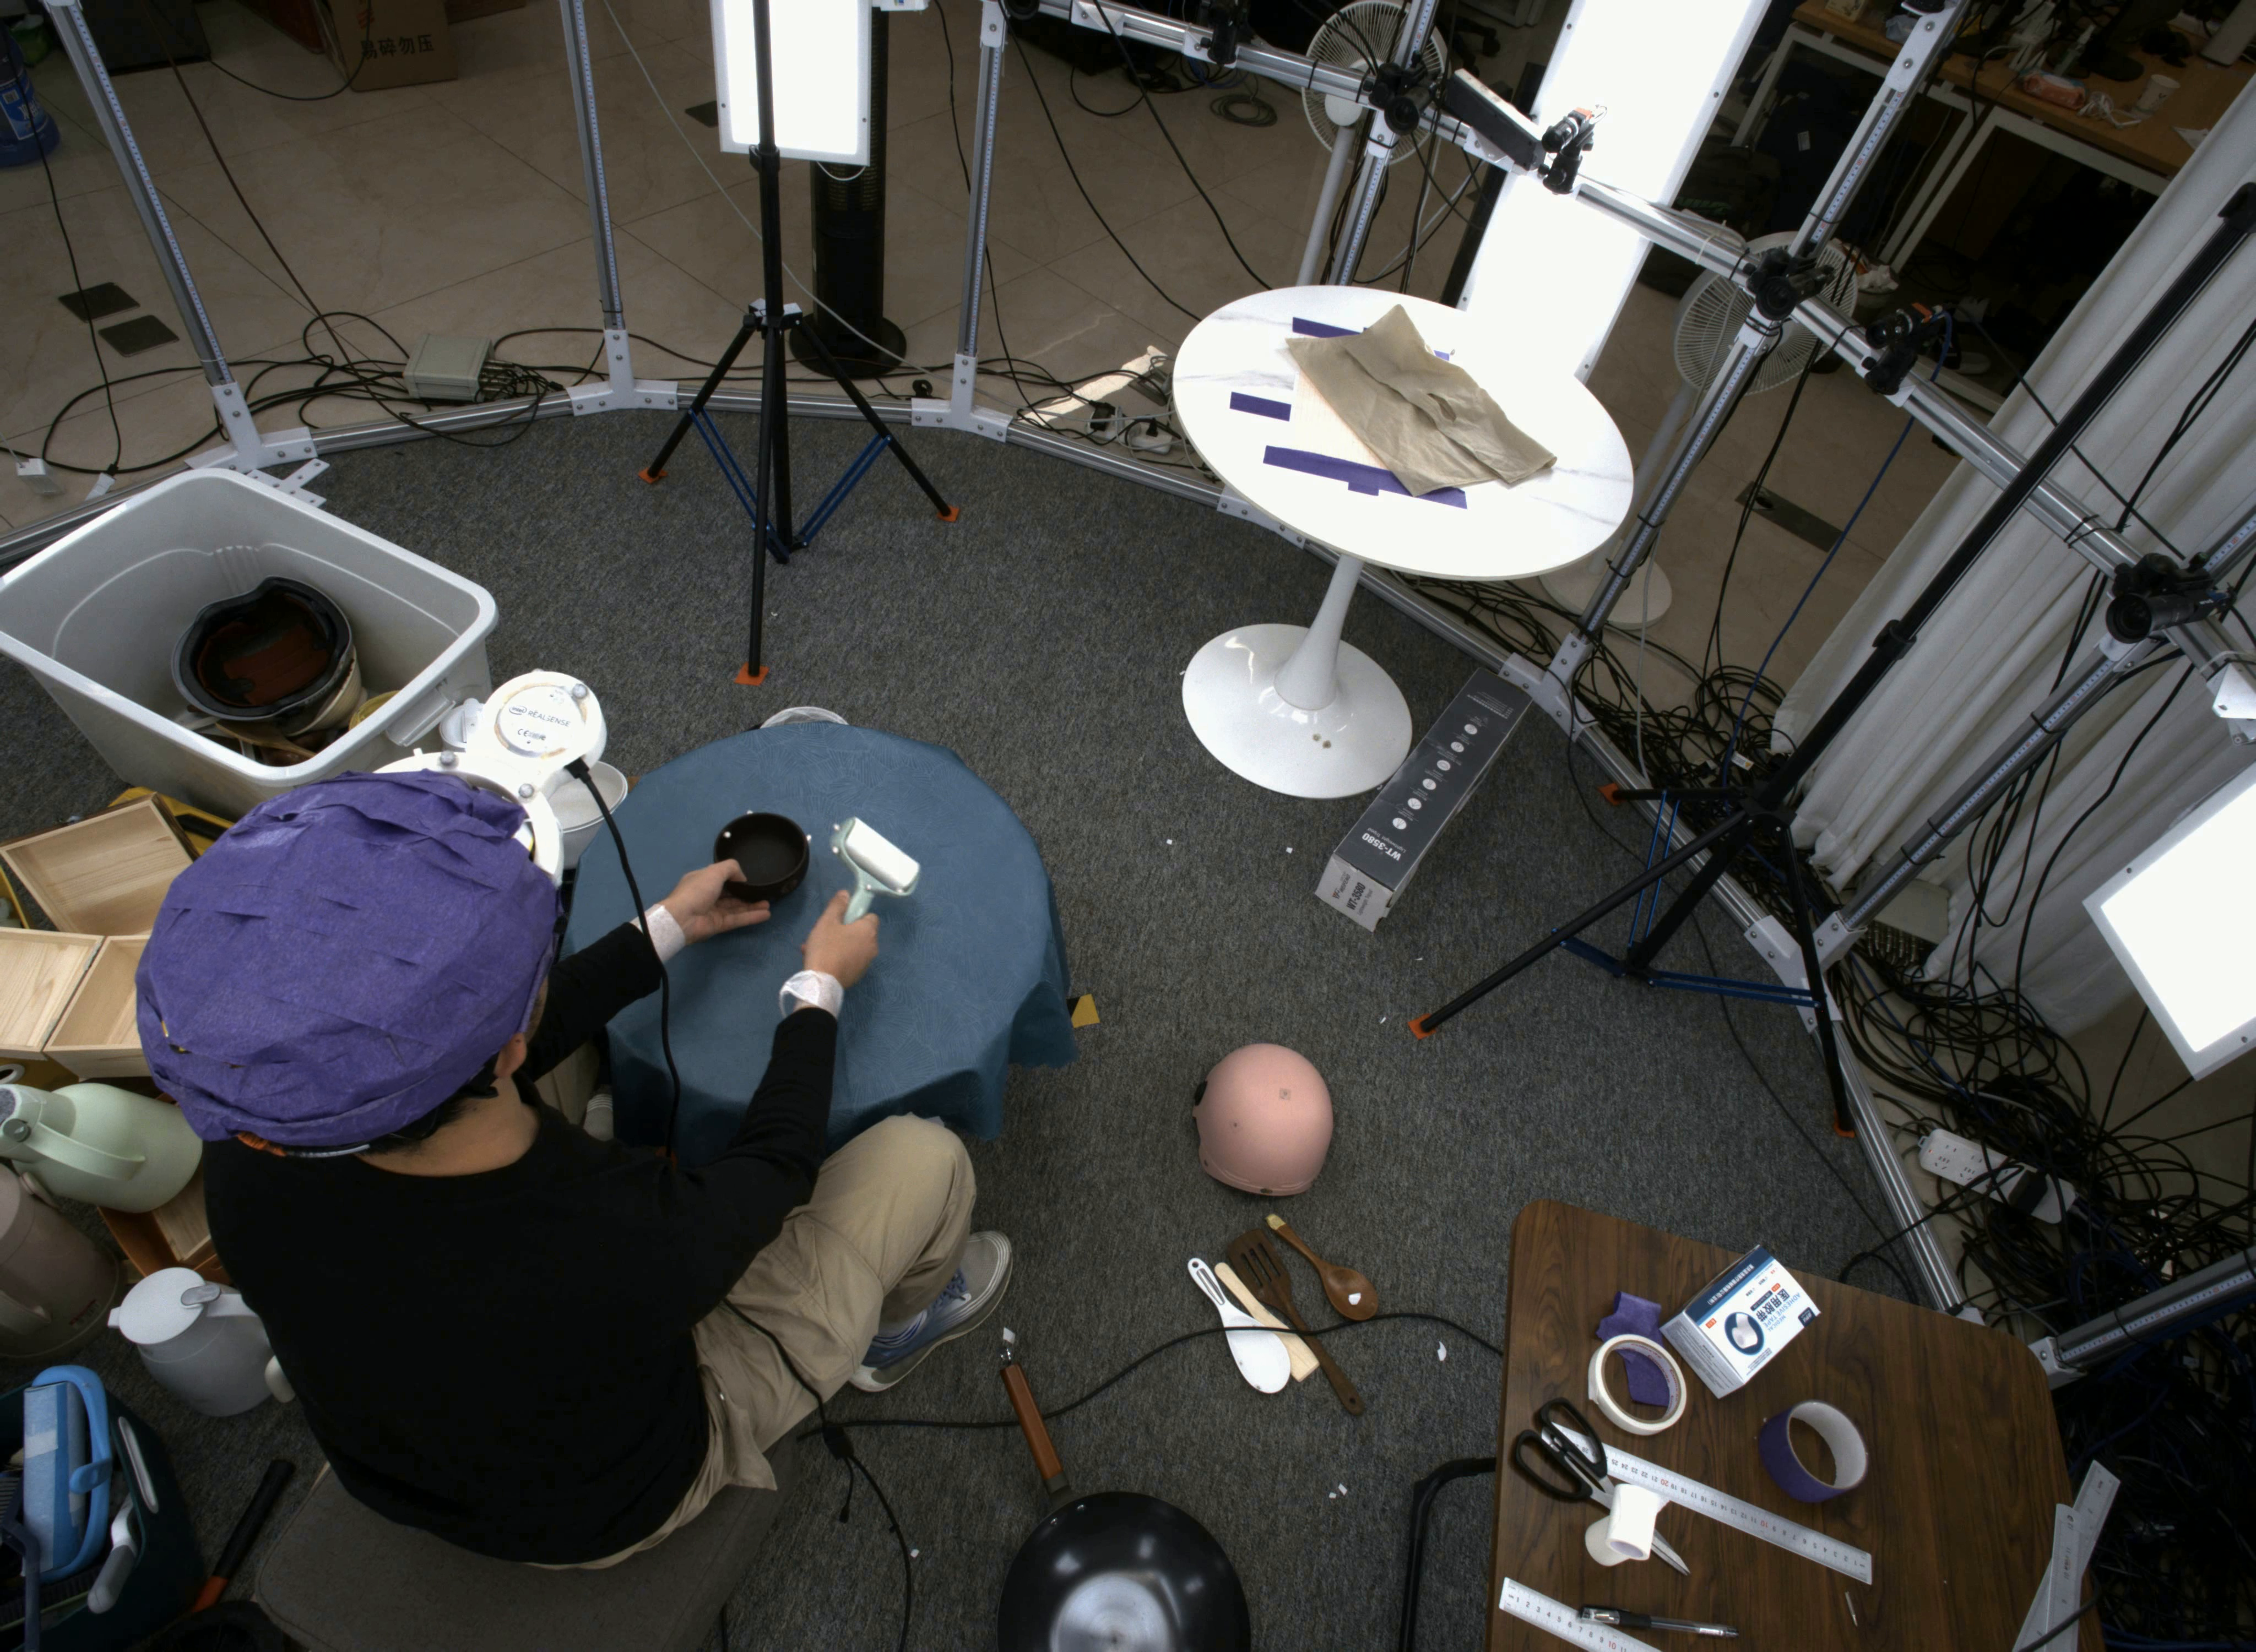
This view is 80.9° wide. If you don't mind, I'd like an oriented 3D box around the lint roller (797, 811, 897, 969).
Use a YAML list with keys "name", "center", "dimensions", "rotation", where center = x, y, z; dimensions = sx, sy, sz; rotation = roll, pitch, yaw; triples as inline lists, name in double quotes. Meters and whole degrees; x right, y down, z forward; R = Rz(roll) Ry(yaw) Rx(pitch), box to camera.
- name: "lint roller"
  center: [-0.353, 0.082, 1.565]
  dimensions: [0.120, 0.047, 0.195]
  rotation: [43, 41, -31]

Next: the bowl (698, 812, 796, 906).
- name: "bowl"
  center: [-0.476, 0.048, 1.622]
  dimensions: [0.118, 0.071, 0.116]
  rotation: [7, 54, -8]
